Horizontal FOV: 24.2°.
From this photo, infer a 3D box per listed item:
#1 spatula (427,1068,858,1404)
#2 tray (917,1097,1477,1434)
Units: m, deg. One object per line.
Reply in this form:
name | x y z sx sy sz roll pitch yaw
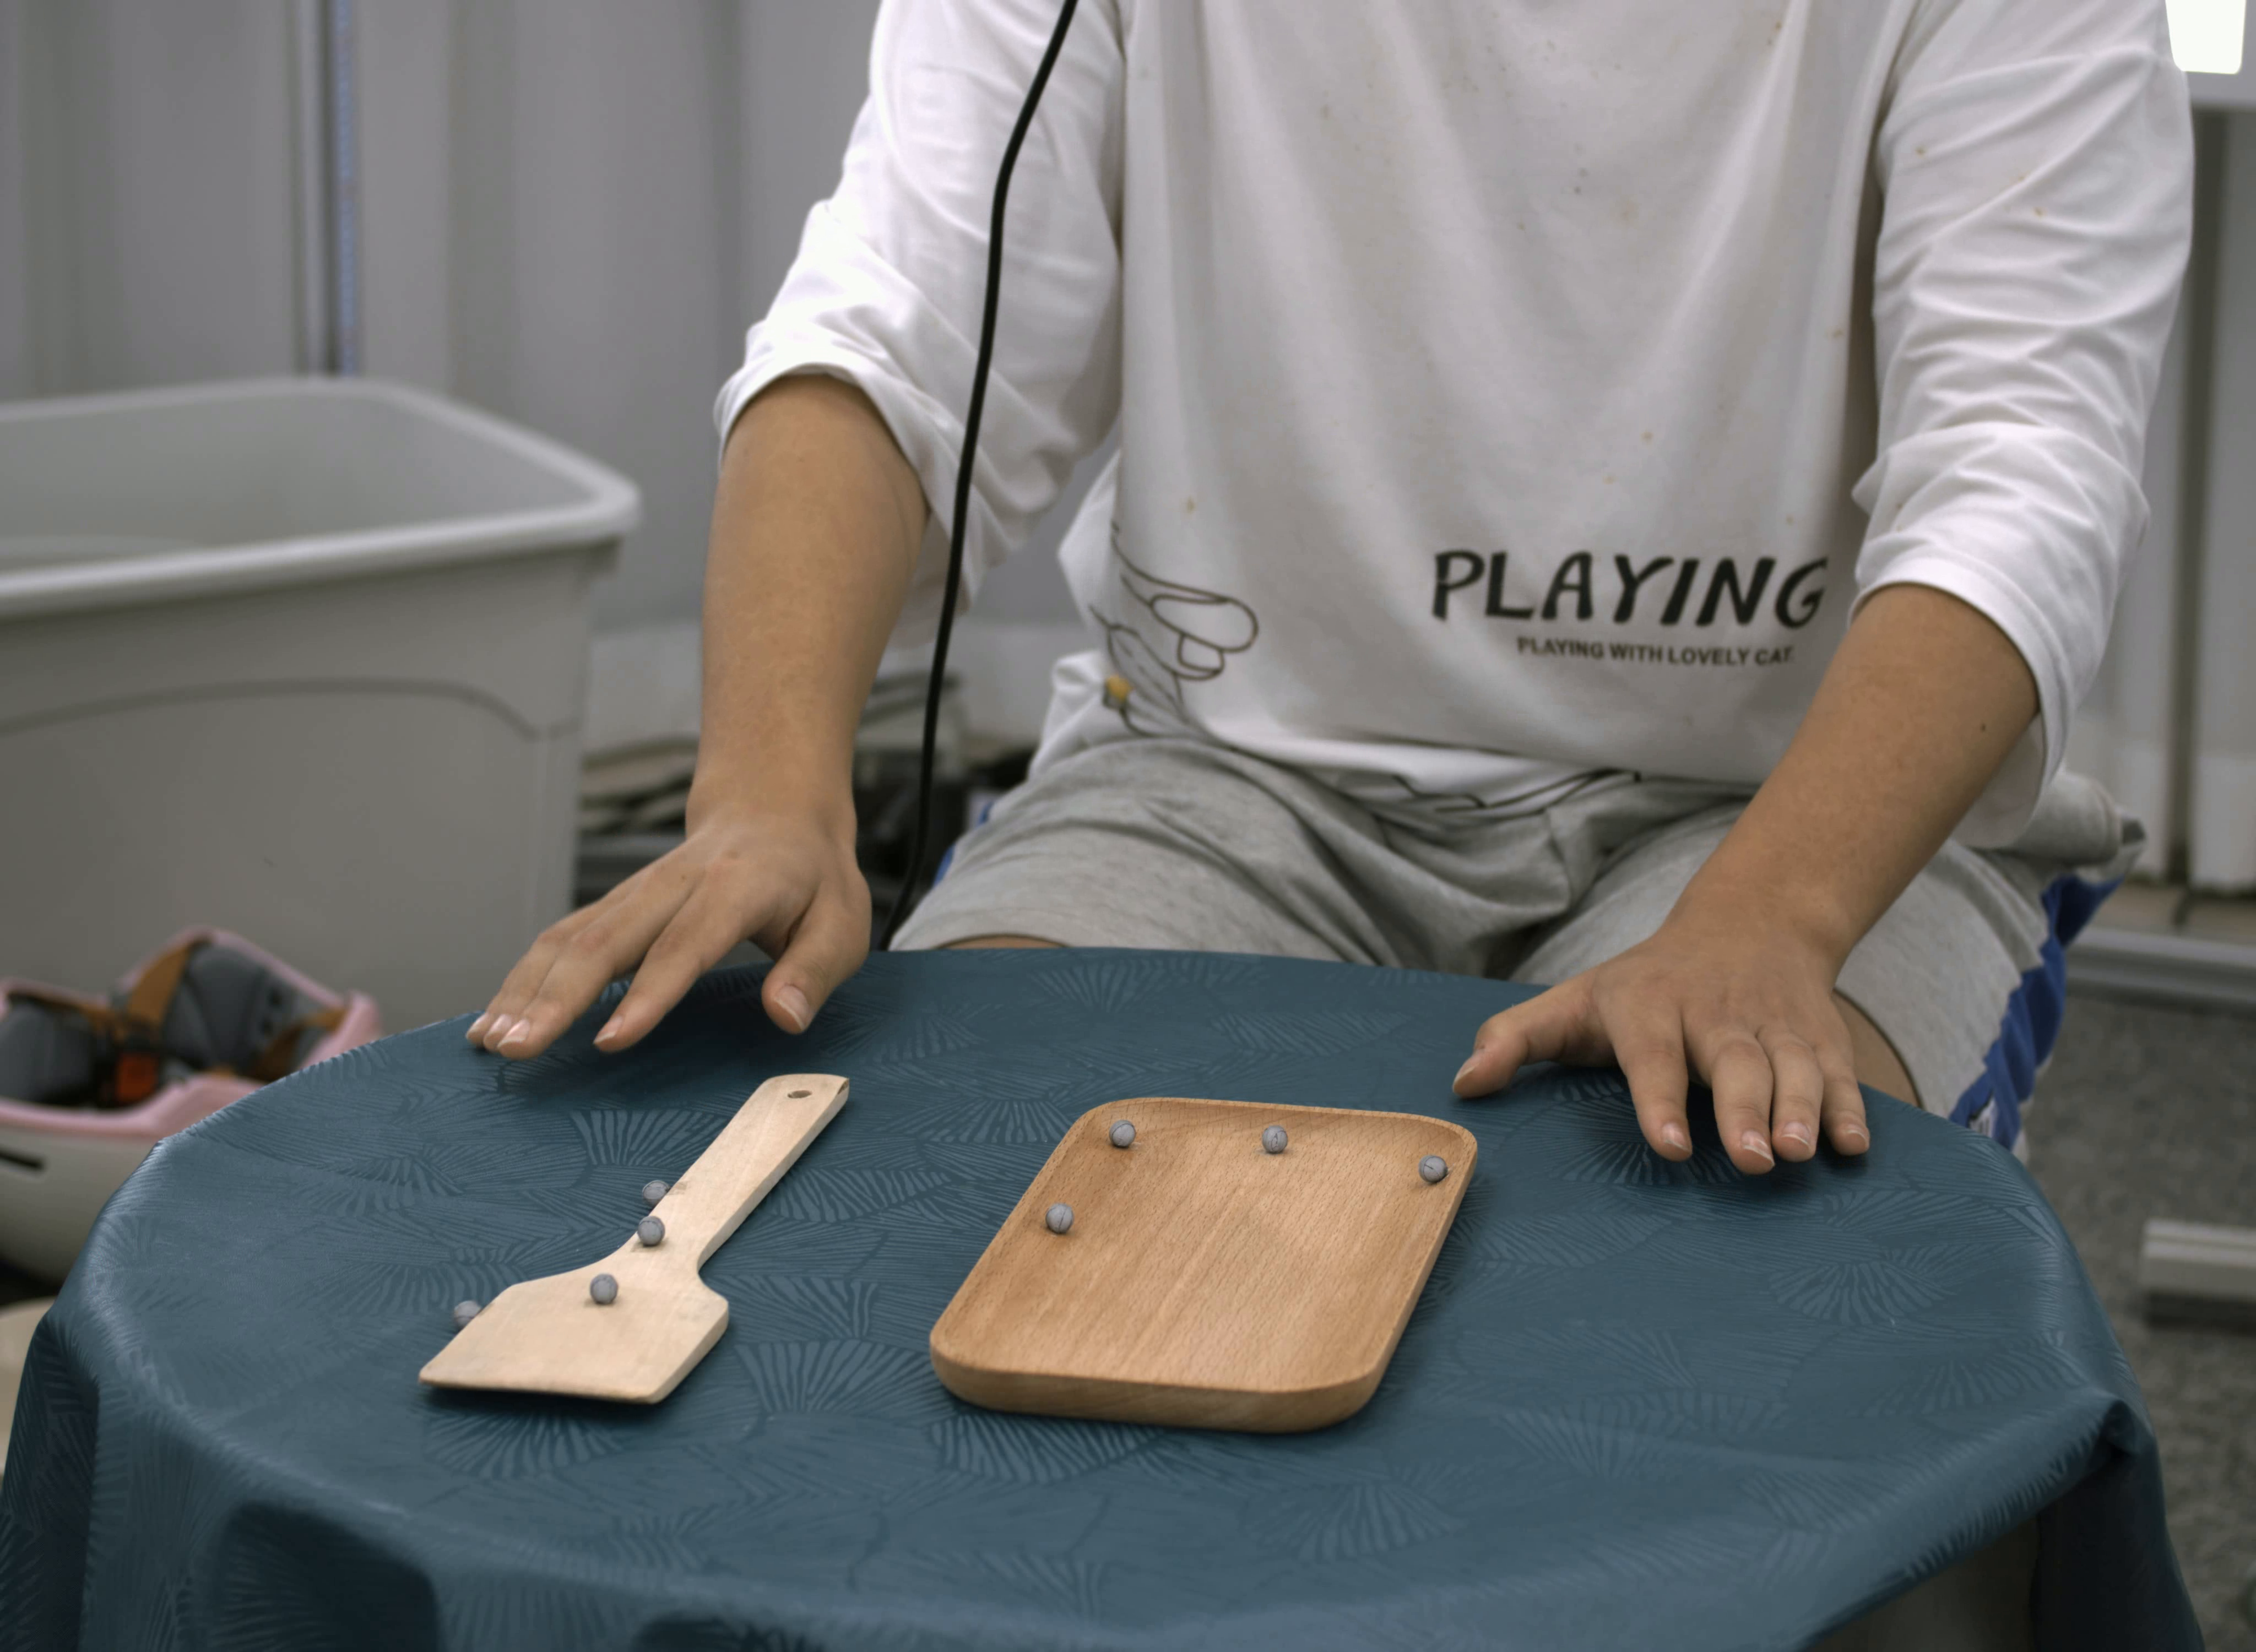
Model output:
spatula | -0.132 0.119 1.580 0.072 0.011 0.292 3 16 12
tray | 0.025 0.126 1.550 0.129 0.023 0.250 2 16 13
